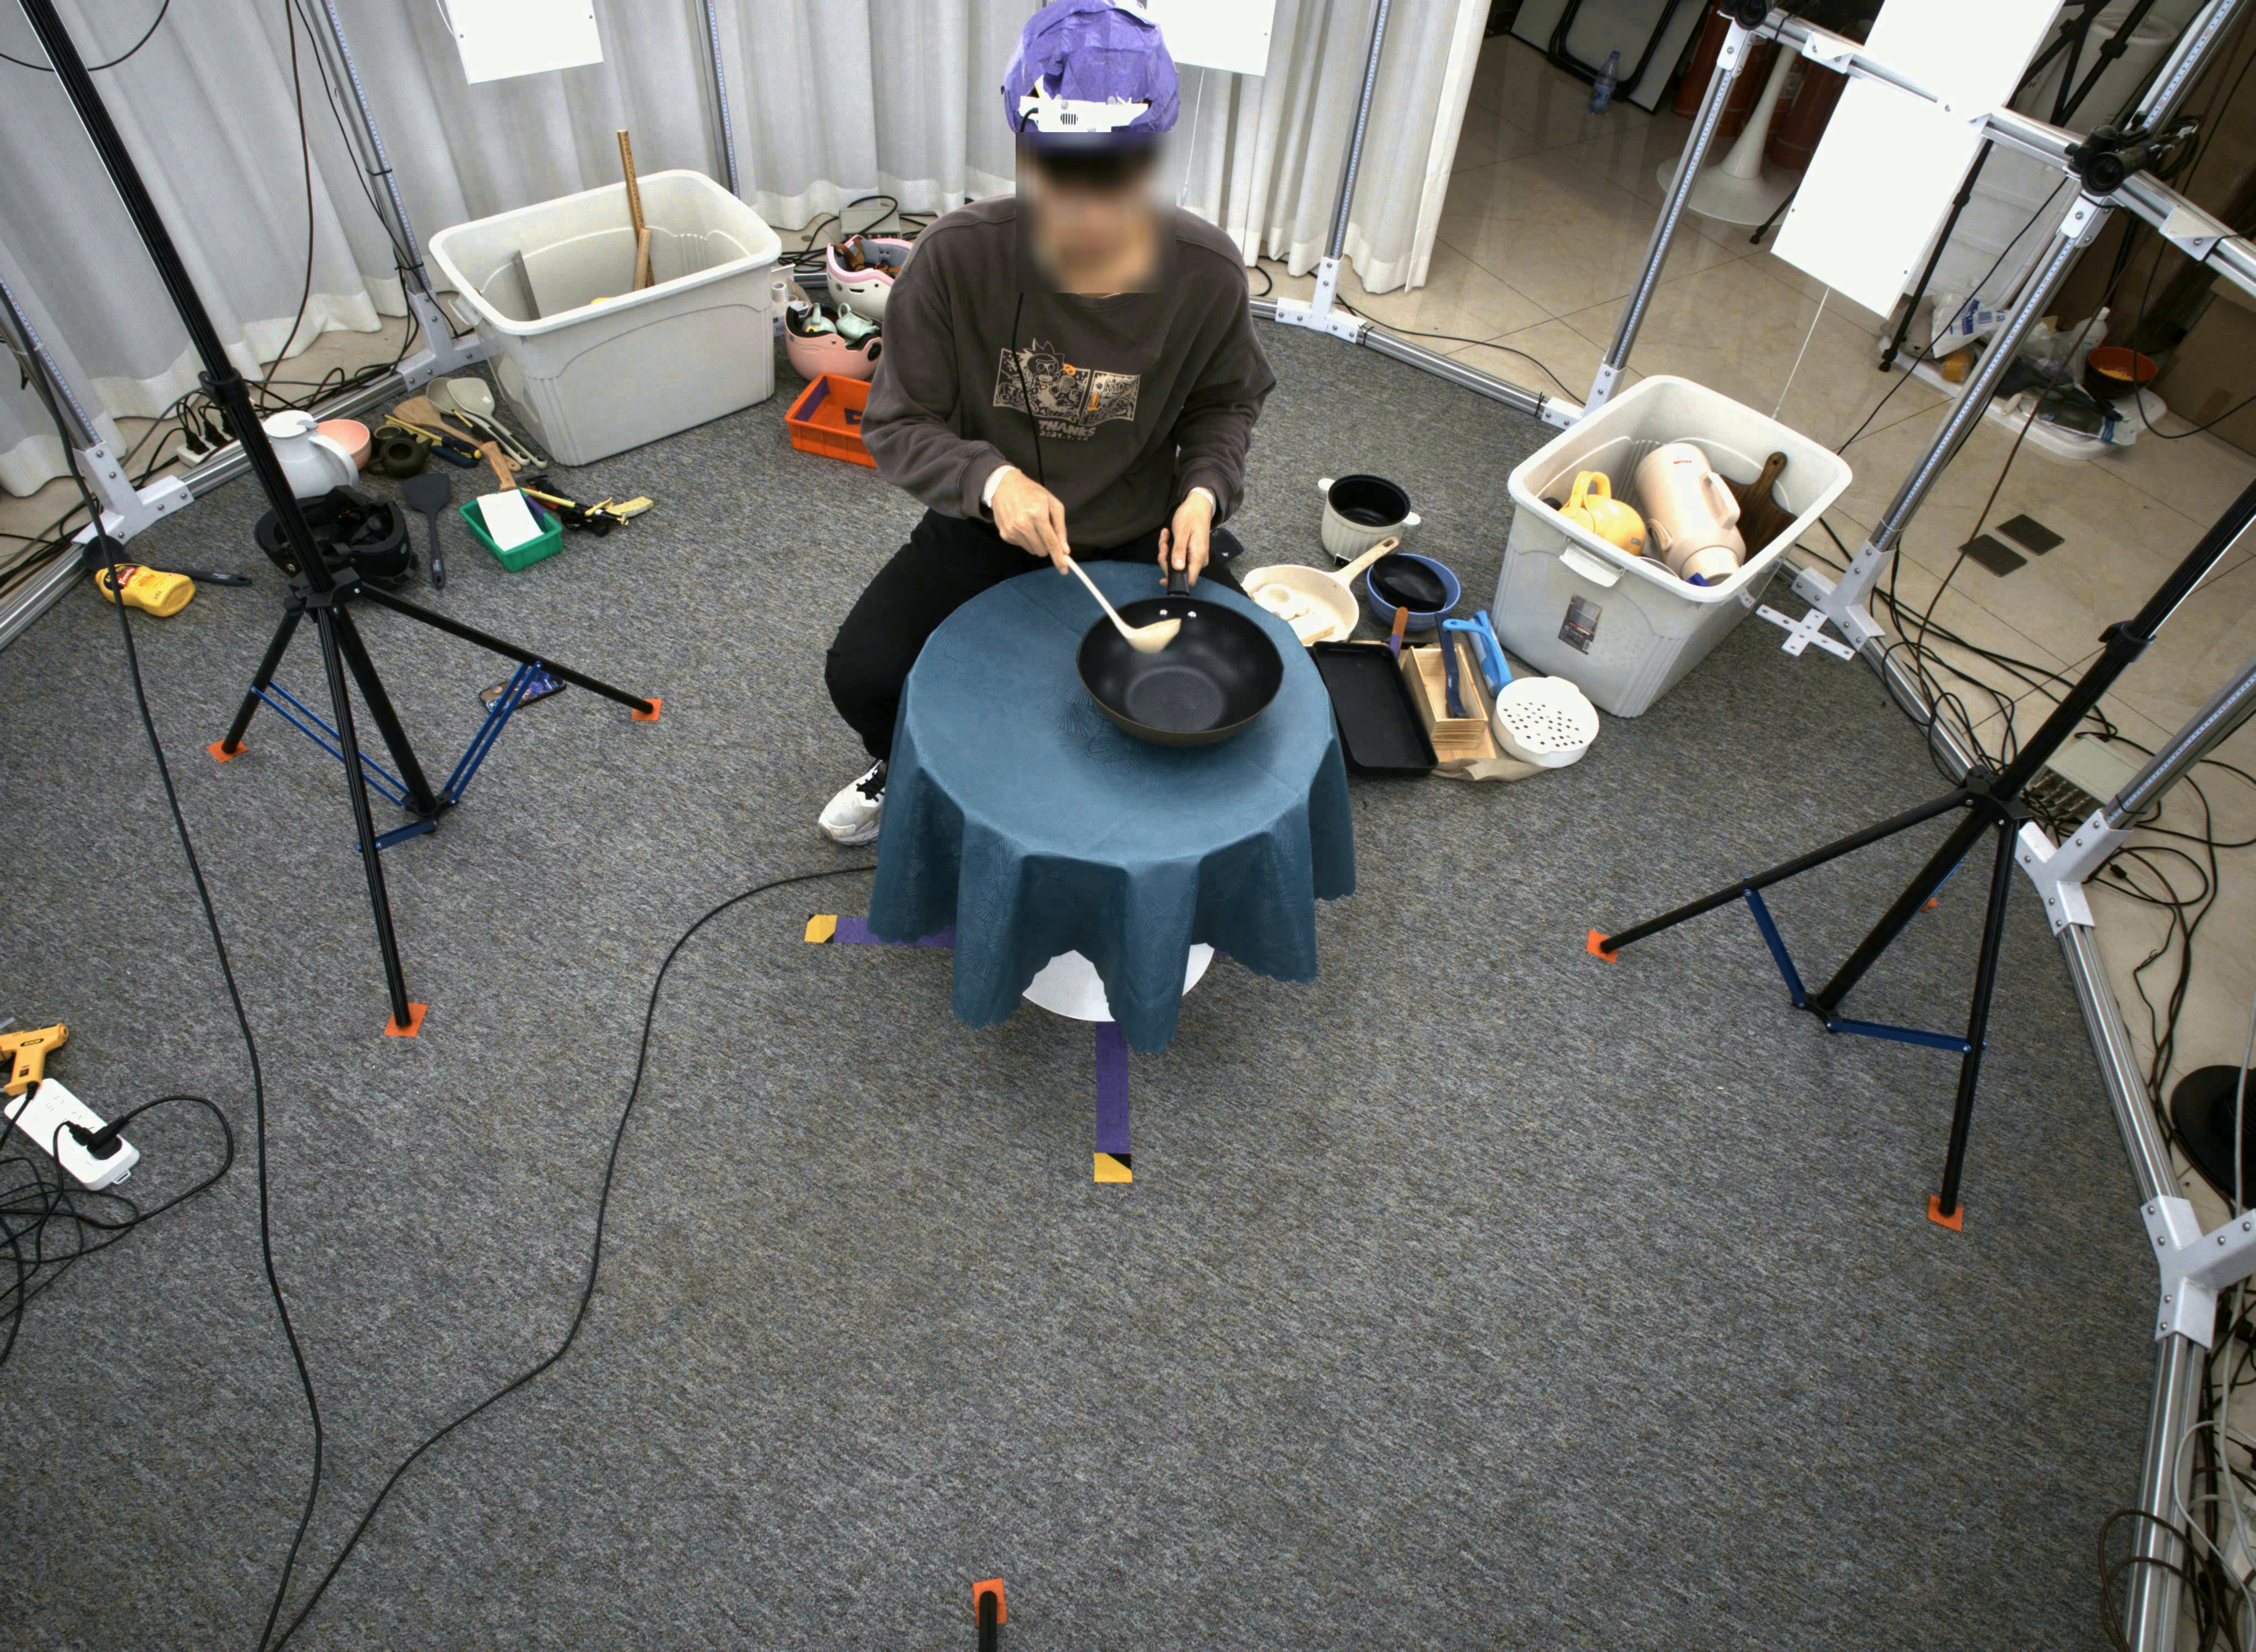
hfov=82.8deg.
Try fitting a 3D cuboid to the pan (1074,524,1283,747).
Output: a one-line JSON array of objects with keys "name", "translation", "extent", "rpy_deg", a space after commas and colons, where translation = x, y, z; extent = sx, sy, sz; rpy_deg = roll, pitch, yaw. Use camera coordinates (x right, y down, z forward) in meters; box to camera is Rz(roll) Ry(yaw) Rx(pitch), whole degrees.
[{"name": "pan", "translation": [0.070, -0.270, 1.853], "extent": [0.288, 0.085, 0.475], "rpy_deg": [3, 47, -1]}]

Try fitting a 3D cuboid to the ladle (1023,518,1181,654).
[{"name": "ladle", "translation": [-0.031, -0.337, 1.719], "extent": [0.254, 0.072, 0.073], "rpy_deg": [48, 35, -4]}]
